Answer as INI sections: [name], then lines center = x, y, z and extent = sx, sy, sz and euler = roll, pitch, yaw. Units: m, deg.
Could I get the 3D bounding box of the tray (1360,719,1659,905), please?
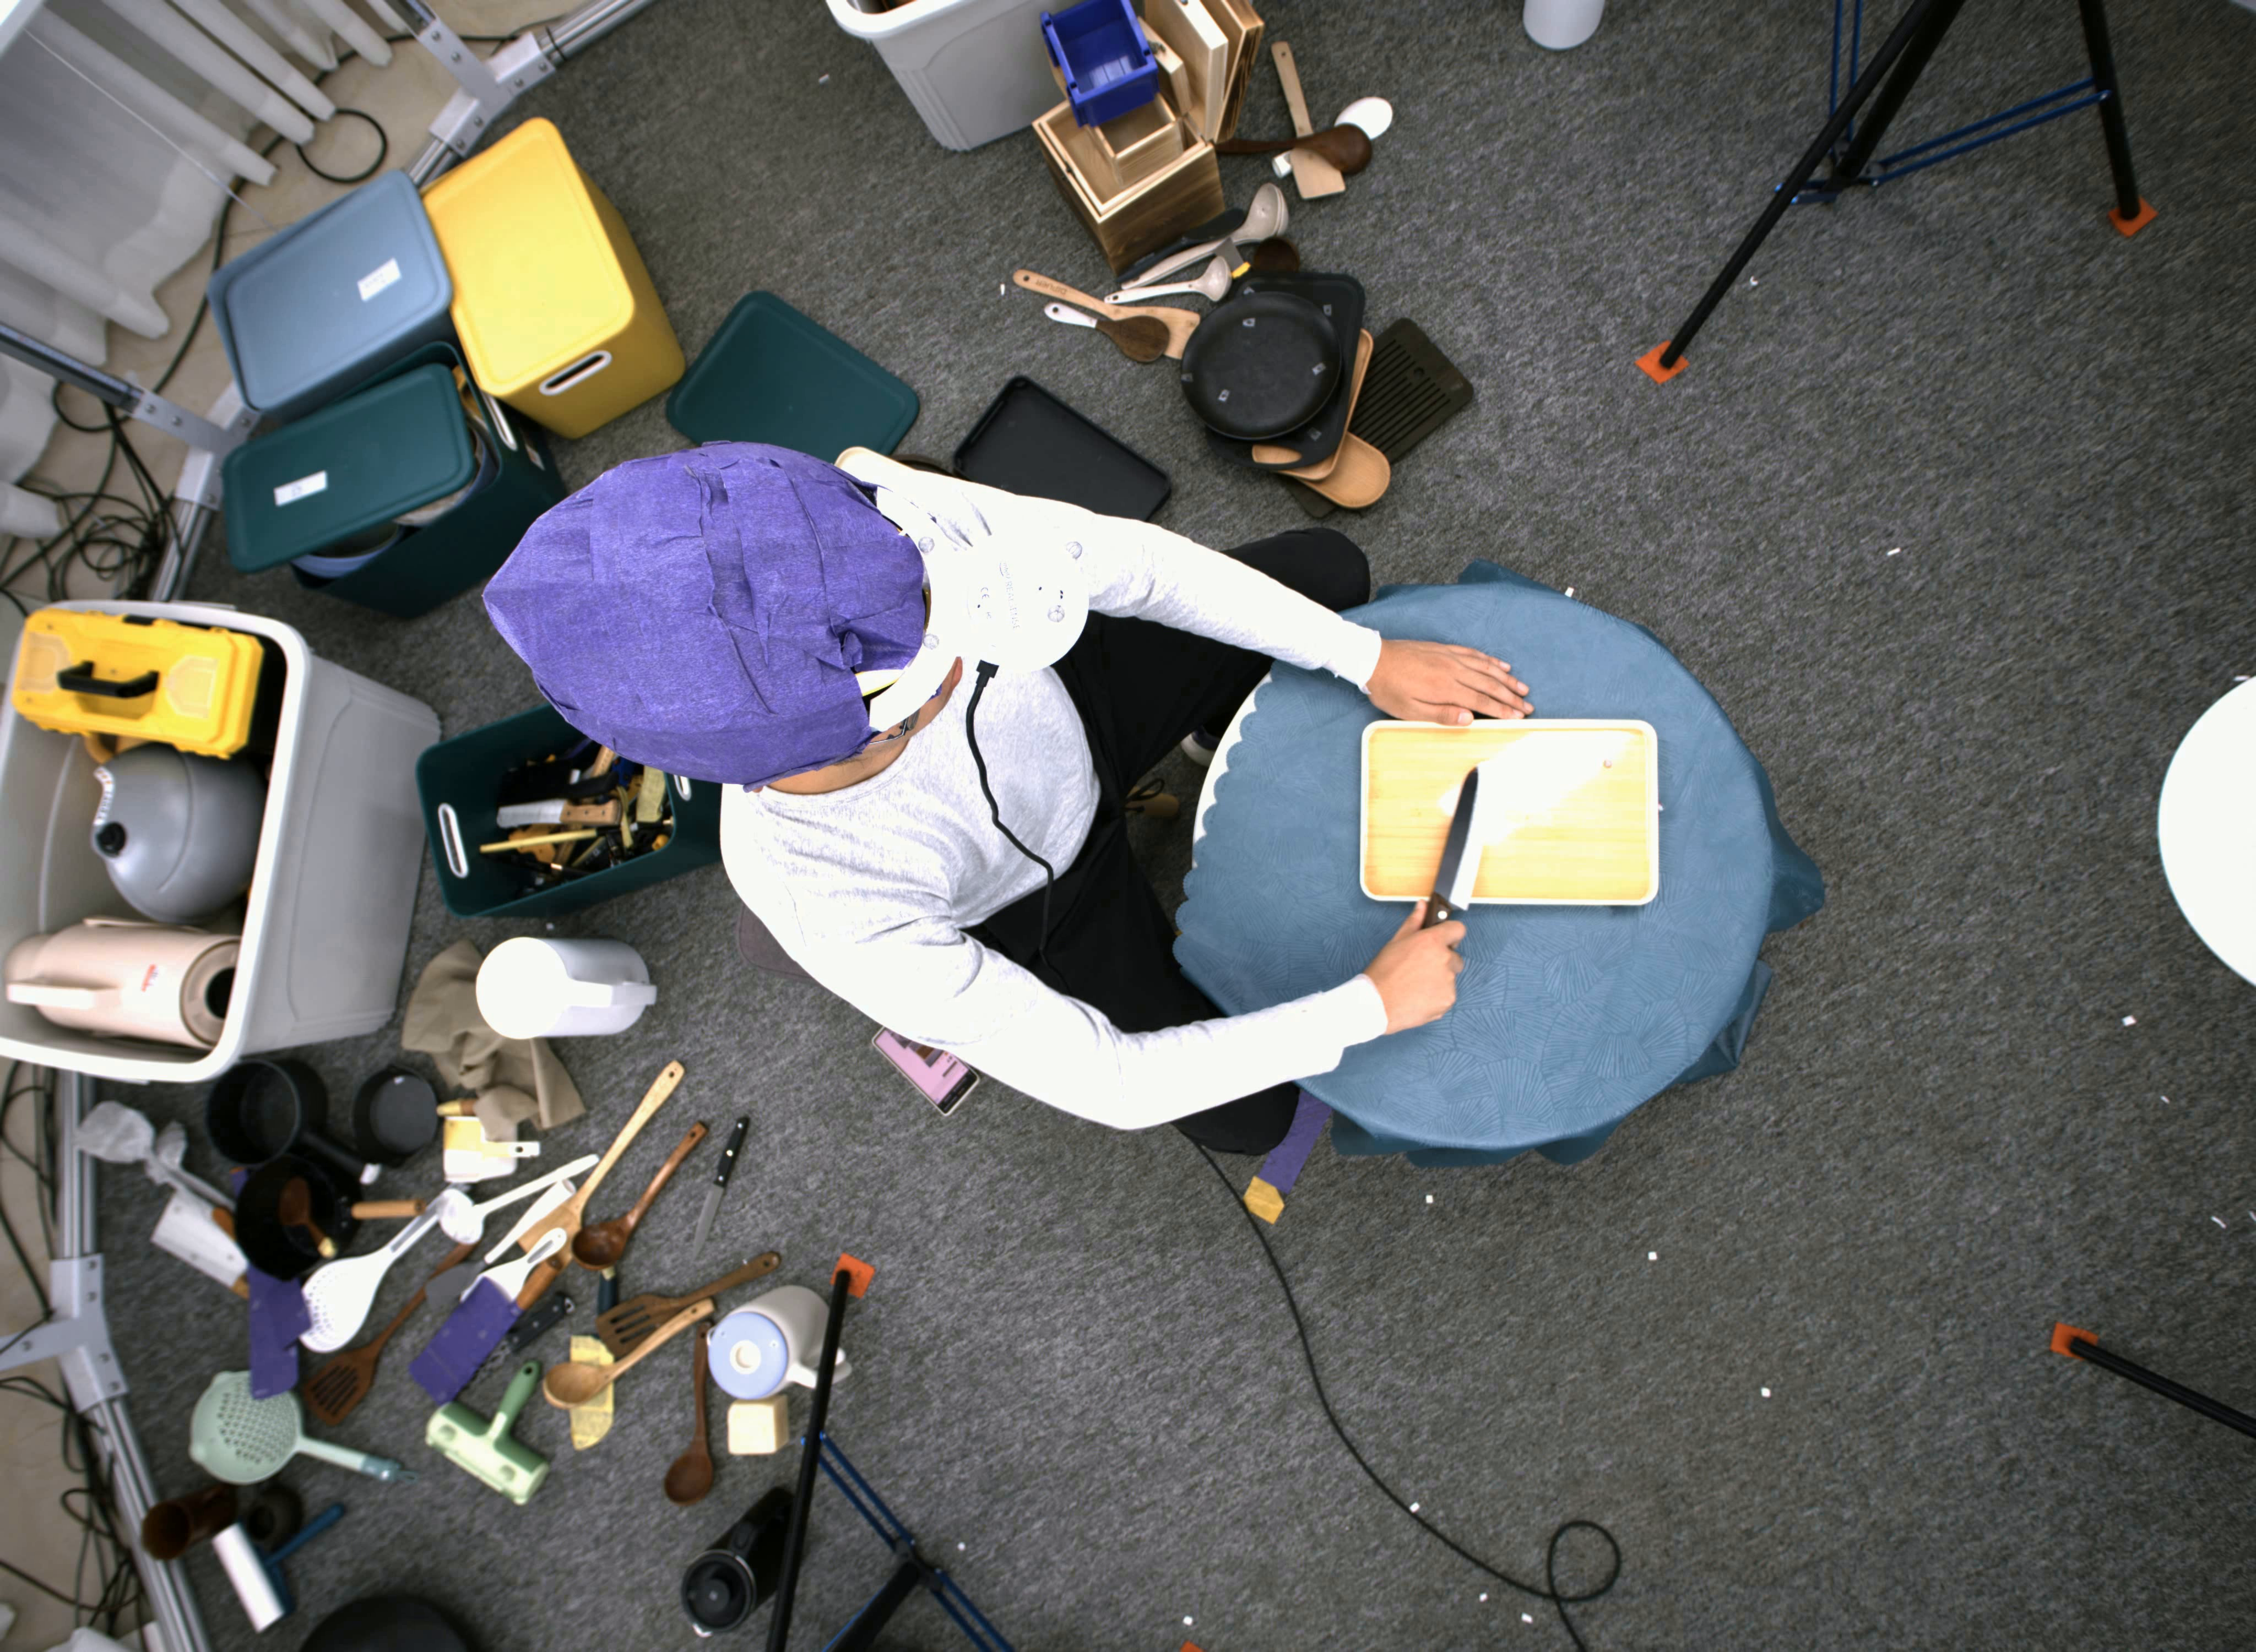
[tray]
center = 0.394, -0.018, 1.428
extent = 0.301, 0.027, 0.191
euler = 1, 87, 11

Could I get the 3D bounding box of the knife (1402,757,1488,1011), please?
[knife]
center = 0.327, 0.055, 1.406
extent = 0.050, 0.020, 0.285
euler = 25, 75, -21
